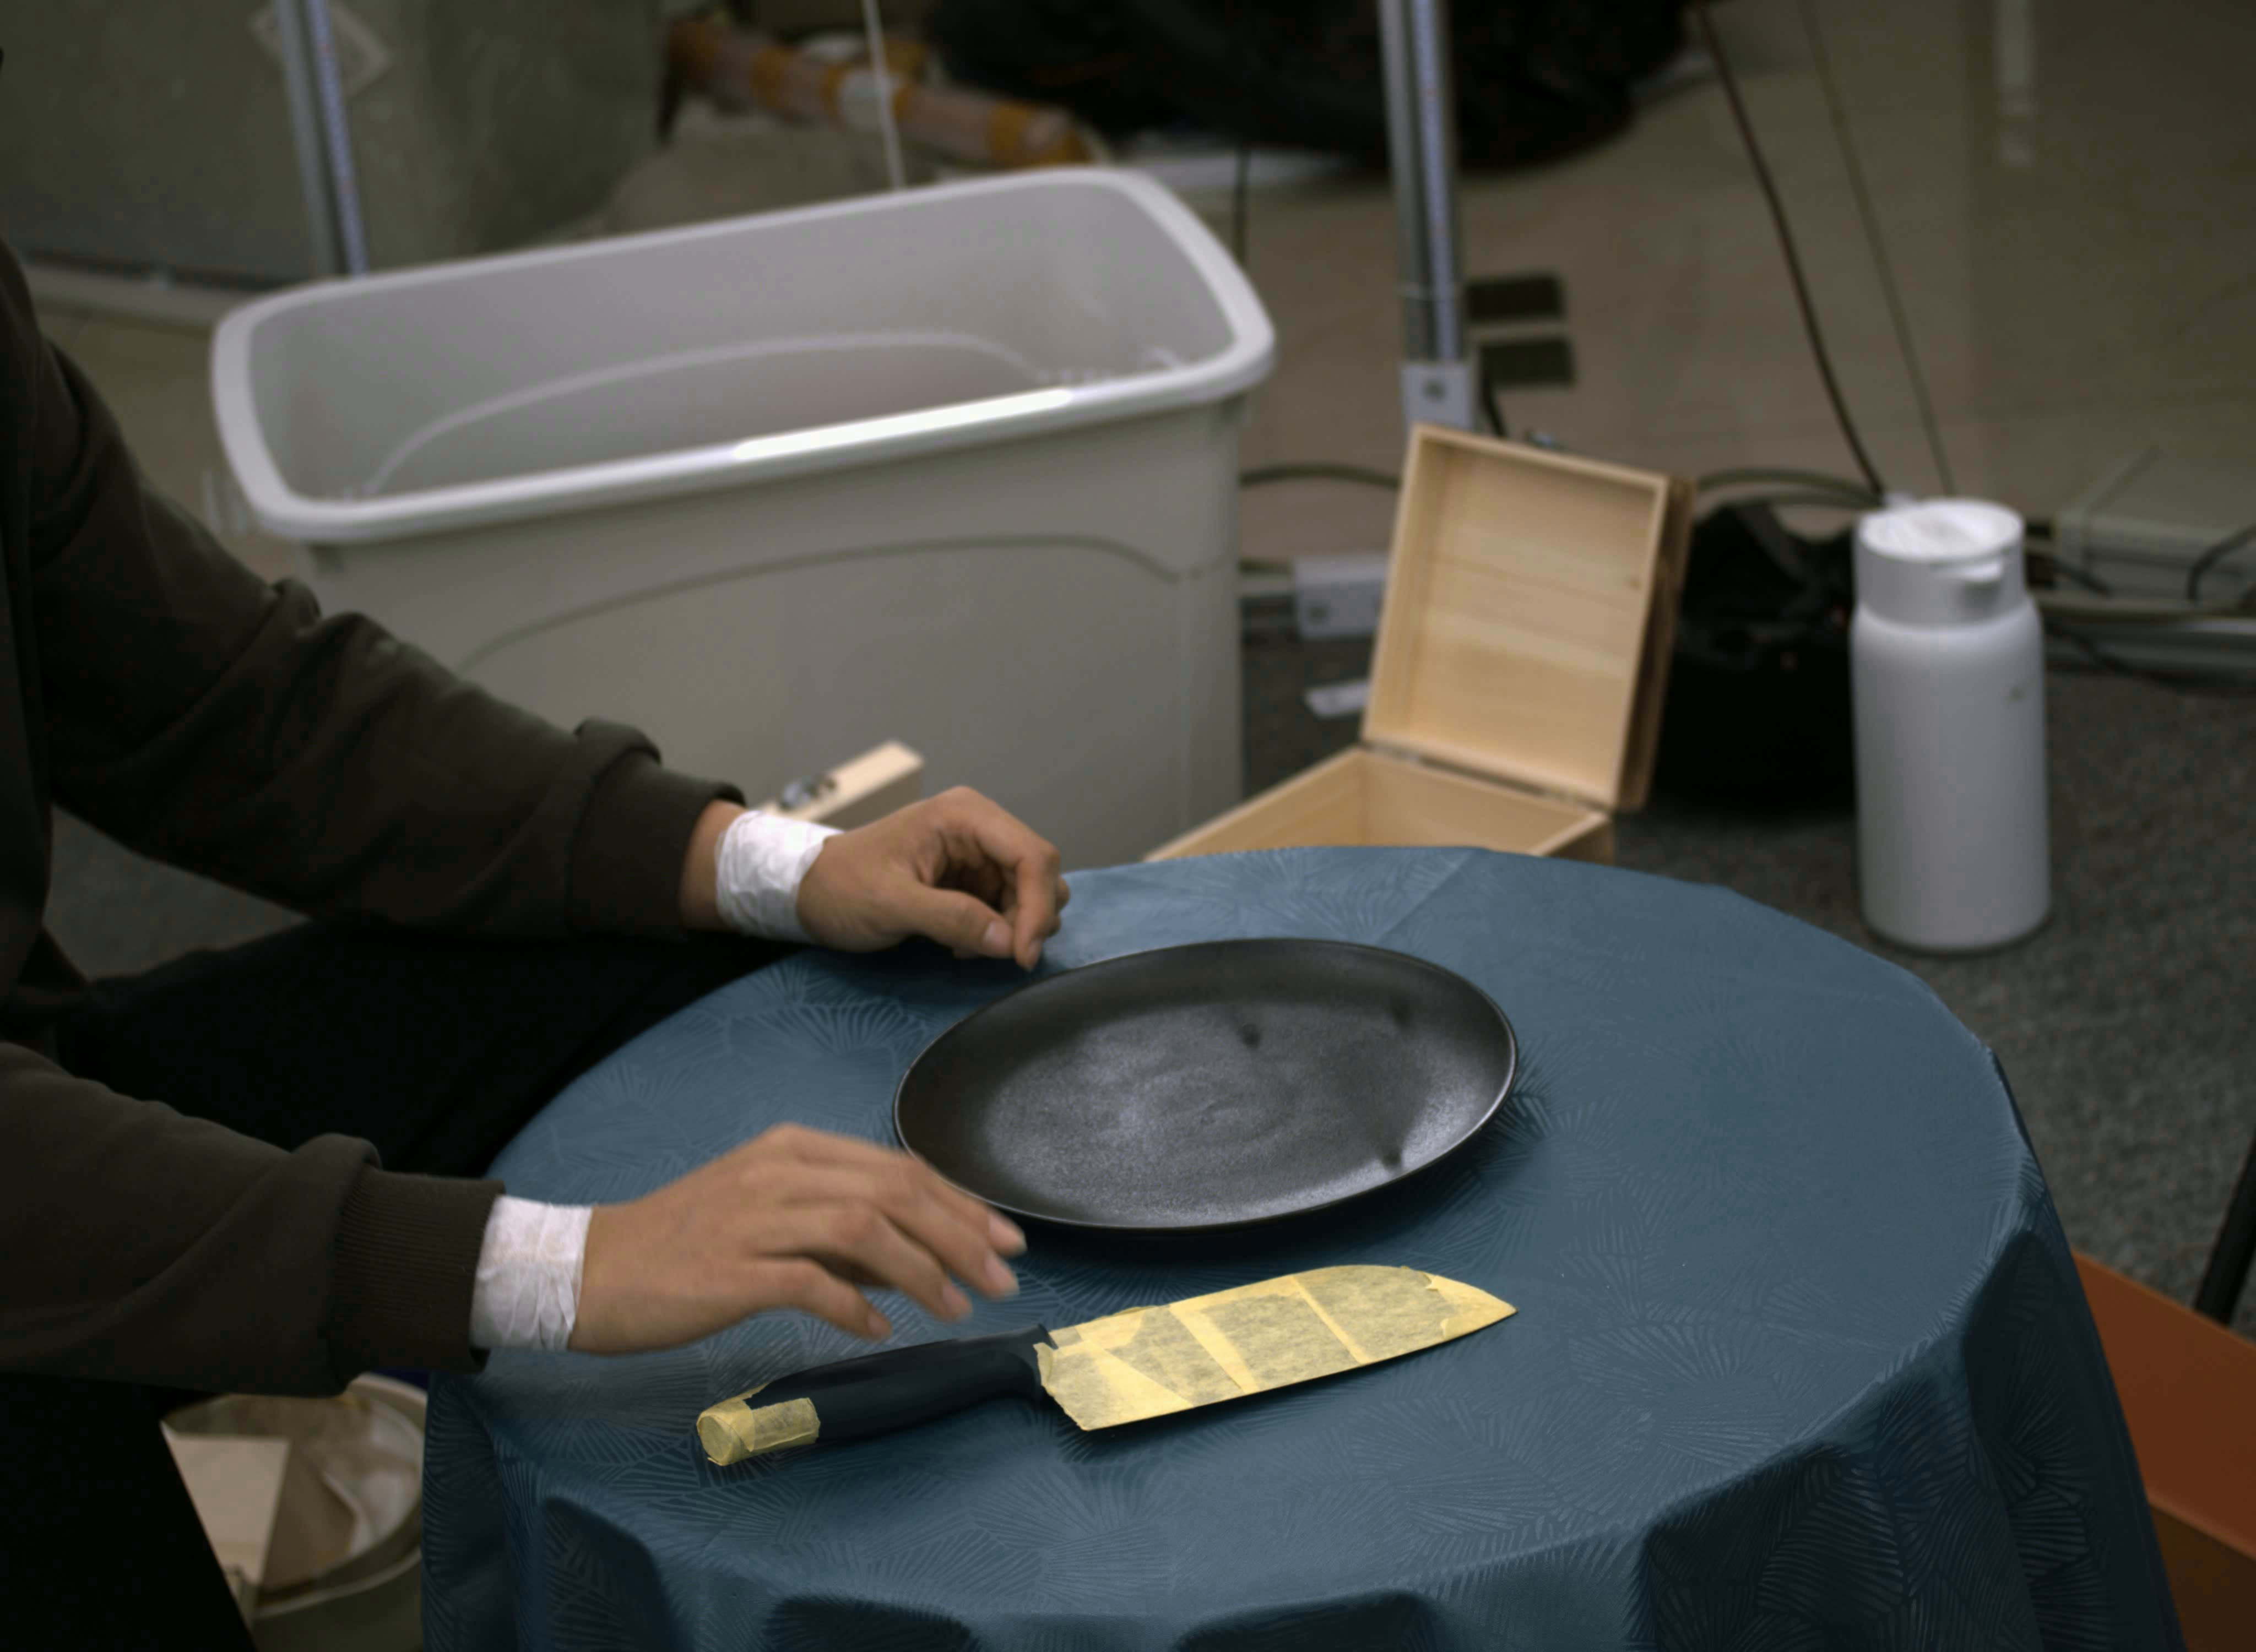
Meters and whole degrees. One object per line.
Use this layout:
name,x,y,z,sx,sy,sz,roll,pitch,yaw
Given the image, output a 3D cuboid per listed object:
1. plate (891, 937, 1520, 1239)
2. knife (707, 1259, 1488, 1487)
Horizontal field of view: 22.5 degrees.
plate,0.031,0.106,2.188,0.244,0.024,0.241,-5,25,3
knife,-0.007,0.194,2.016,0.288,0.027,0.080,-12,24,-15
